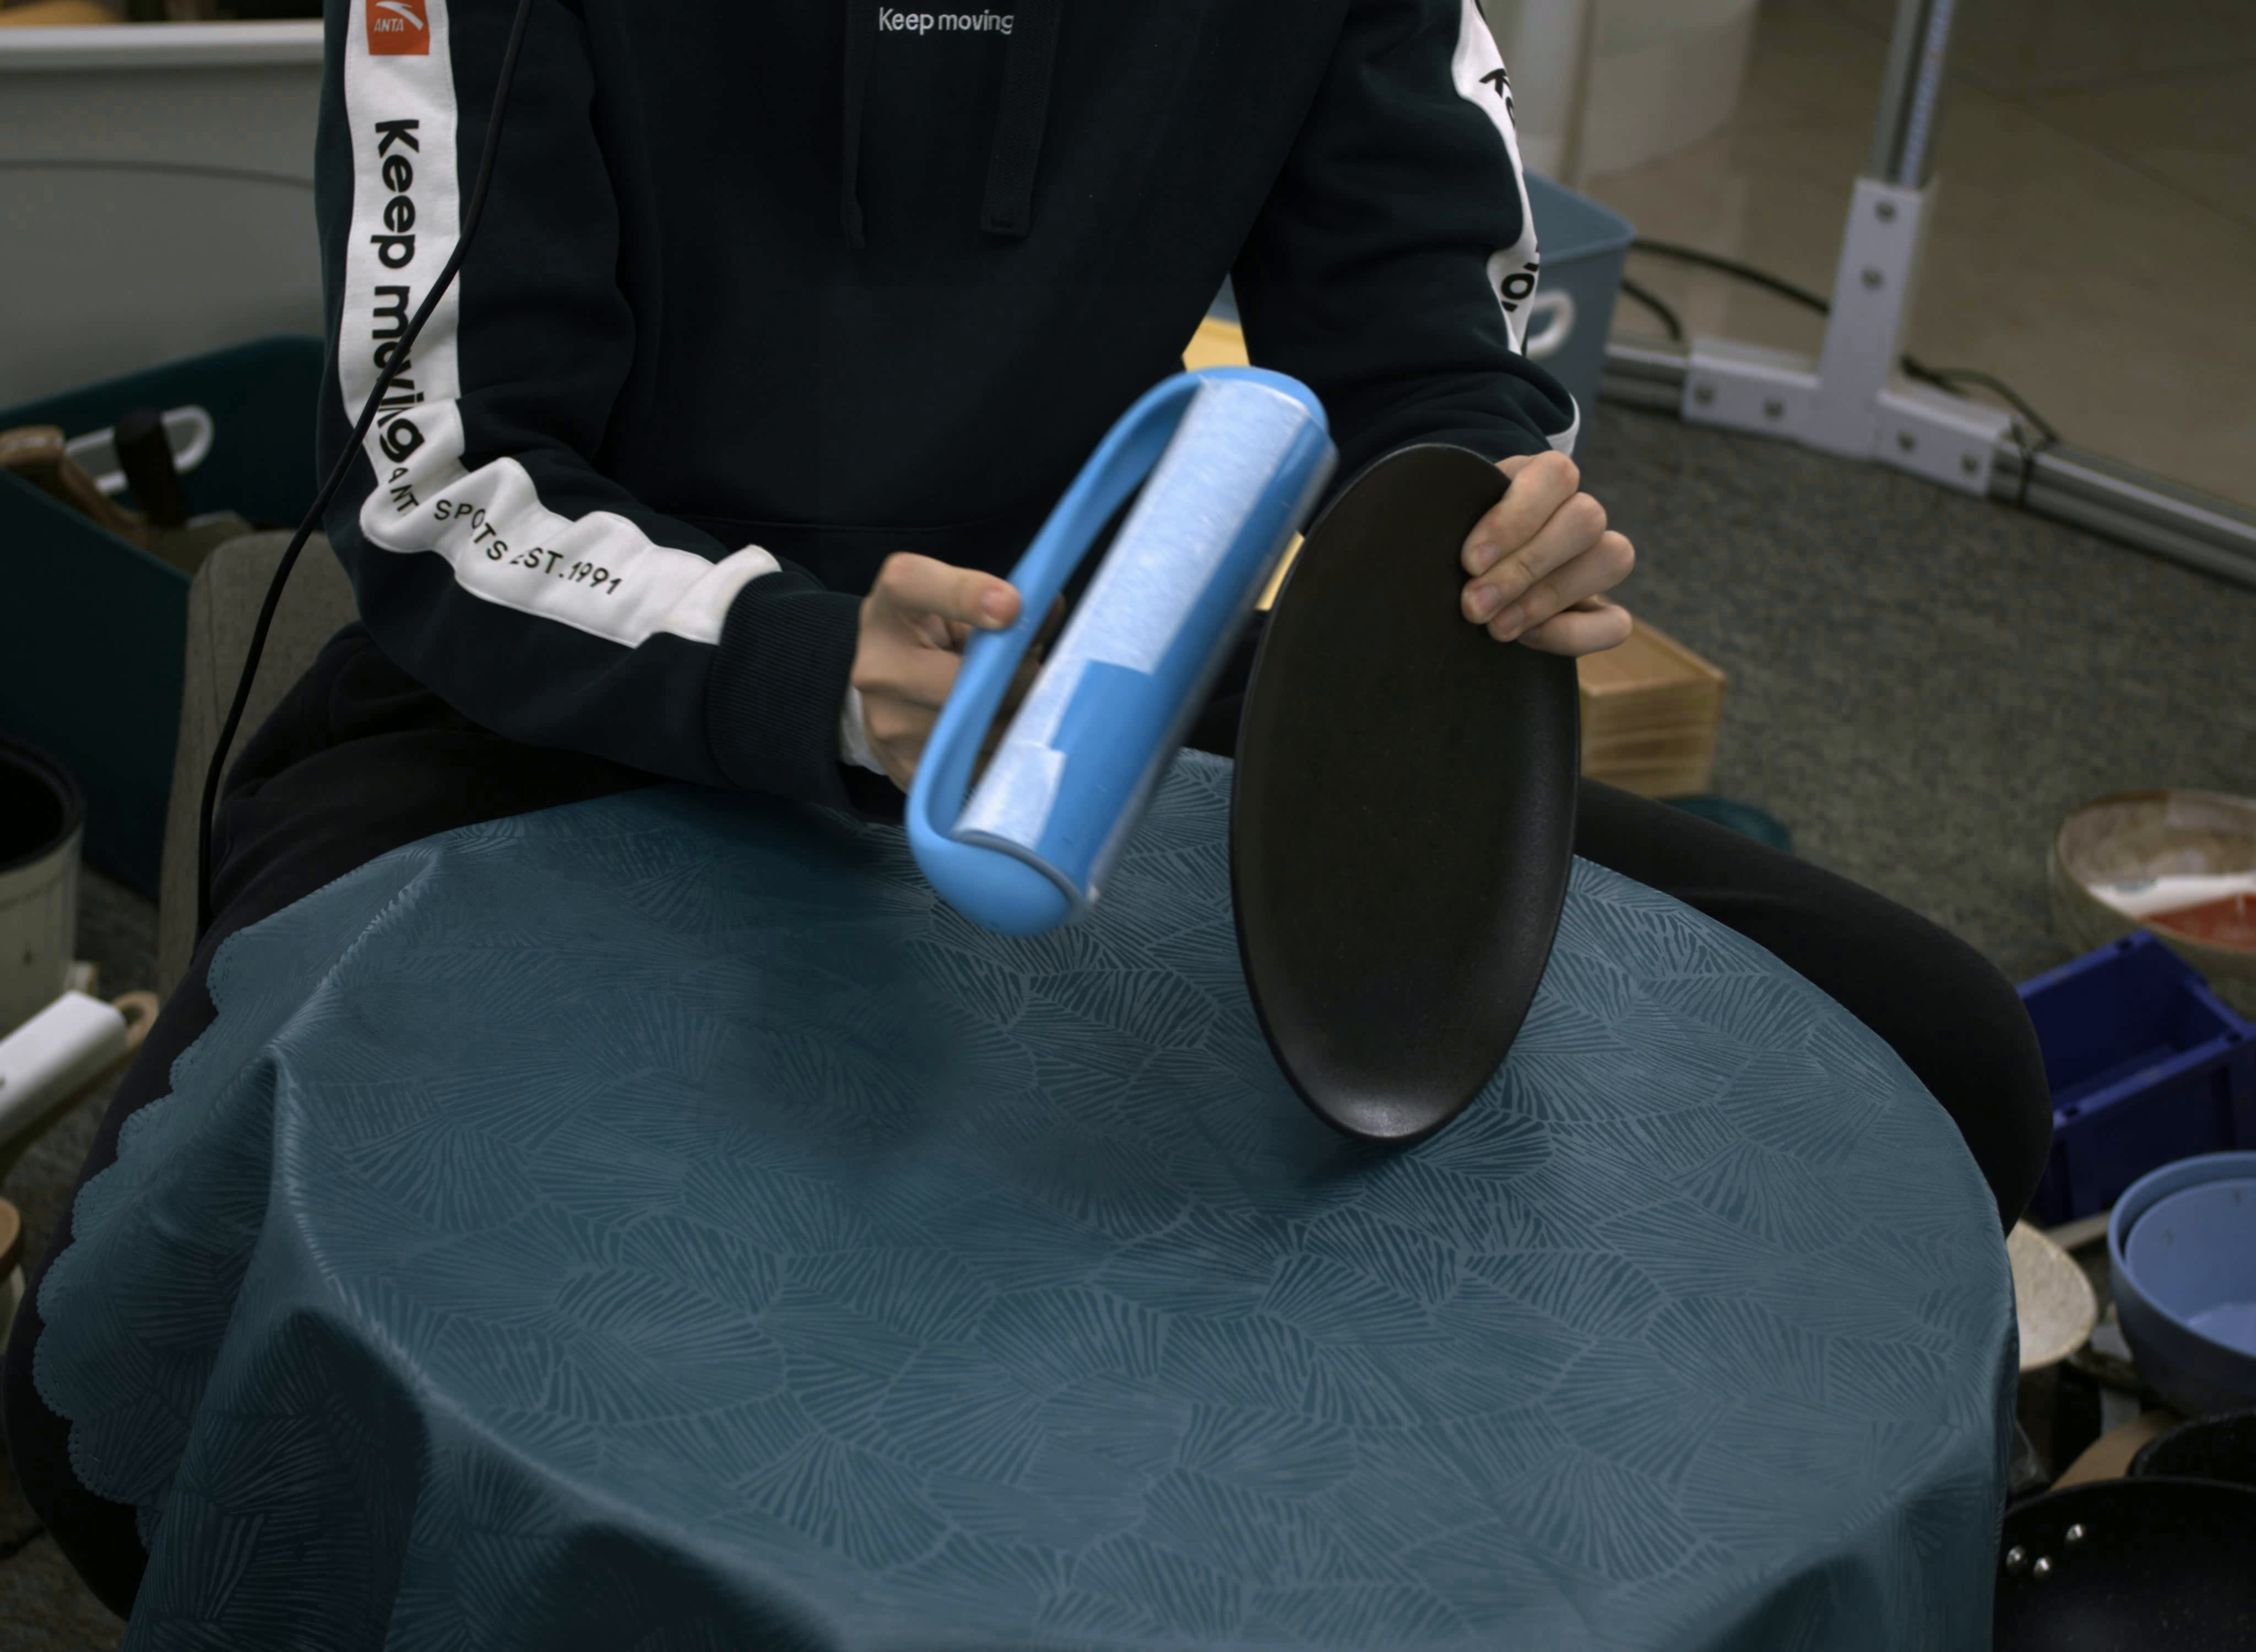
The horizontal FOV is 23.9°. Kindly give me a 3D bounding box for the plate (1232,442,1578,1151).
[{"bbox_3d":[0.091,-0.010,1.832,0.023,0.244,0.244,4,22,31],"label":"plate"}]

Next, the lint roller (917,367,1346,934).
[{"bbox_3d":[-0.022,-0.050,1.841,0.067,0.181,0.230,37,63,-20],"label":"lint roller"}]
